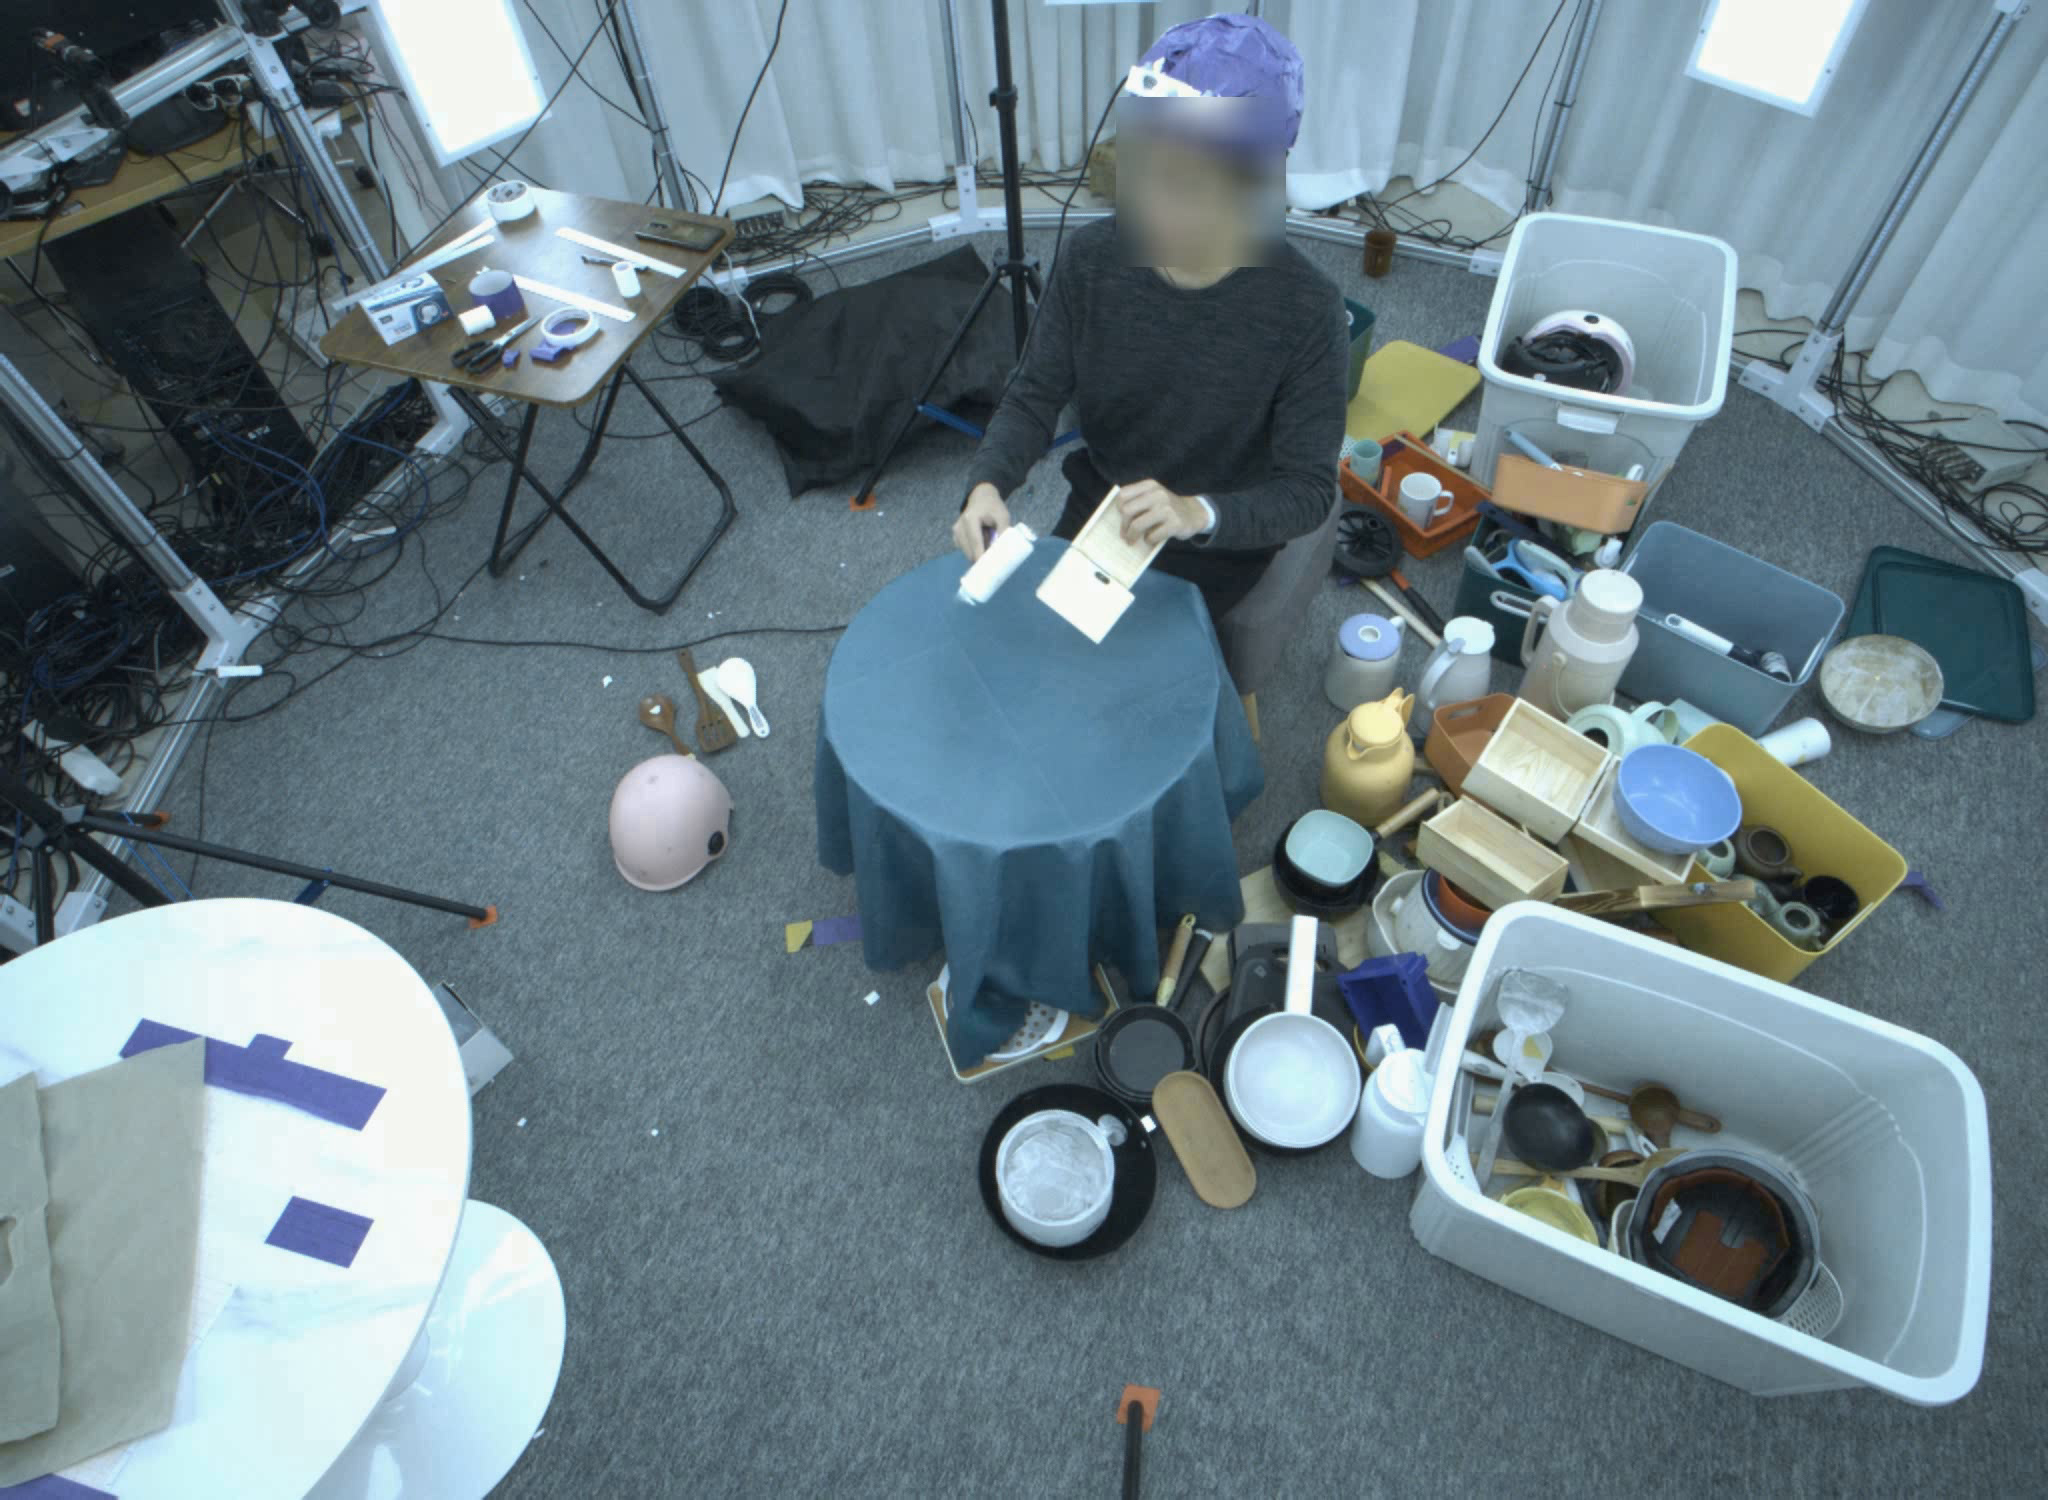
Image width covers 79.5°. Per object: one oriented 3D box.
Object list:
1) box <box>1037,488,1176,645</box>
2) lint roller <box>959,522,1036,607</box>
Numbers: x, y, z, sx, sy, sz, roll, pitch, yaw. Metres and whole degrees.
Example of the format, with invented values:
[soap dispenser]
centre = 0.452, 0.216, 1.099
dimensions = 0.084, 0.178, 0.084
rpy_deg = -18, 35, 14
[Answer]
[box]
centre = 0.112, -0.247, 1.626
dimensions = 0.103, 0.133, 0.184
rpy_deg = 37, 98, -8
[lint roller]
centre = -0.052, -0.288, 1.722
dimensions = 0.132, 0.051, 0.177
rpy_deg = -45, 38, 17
